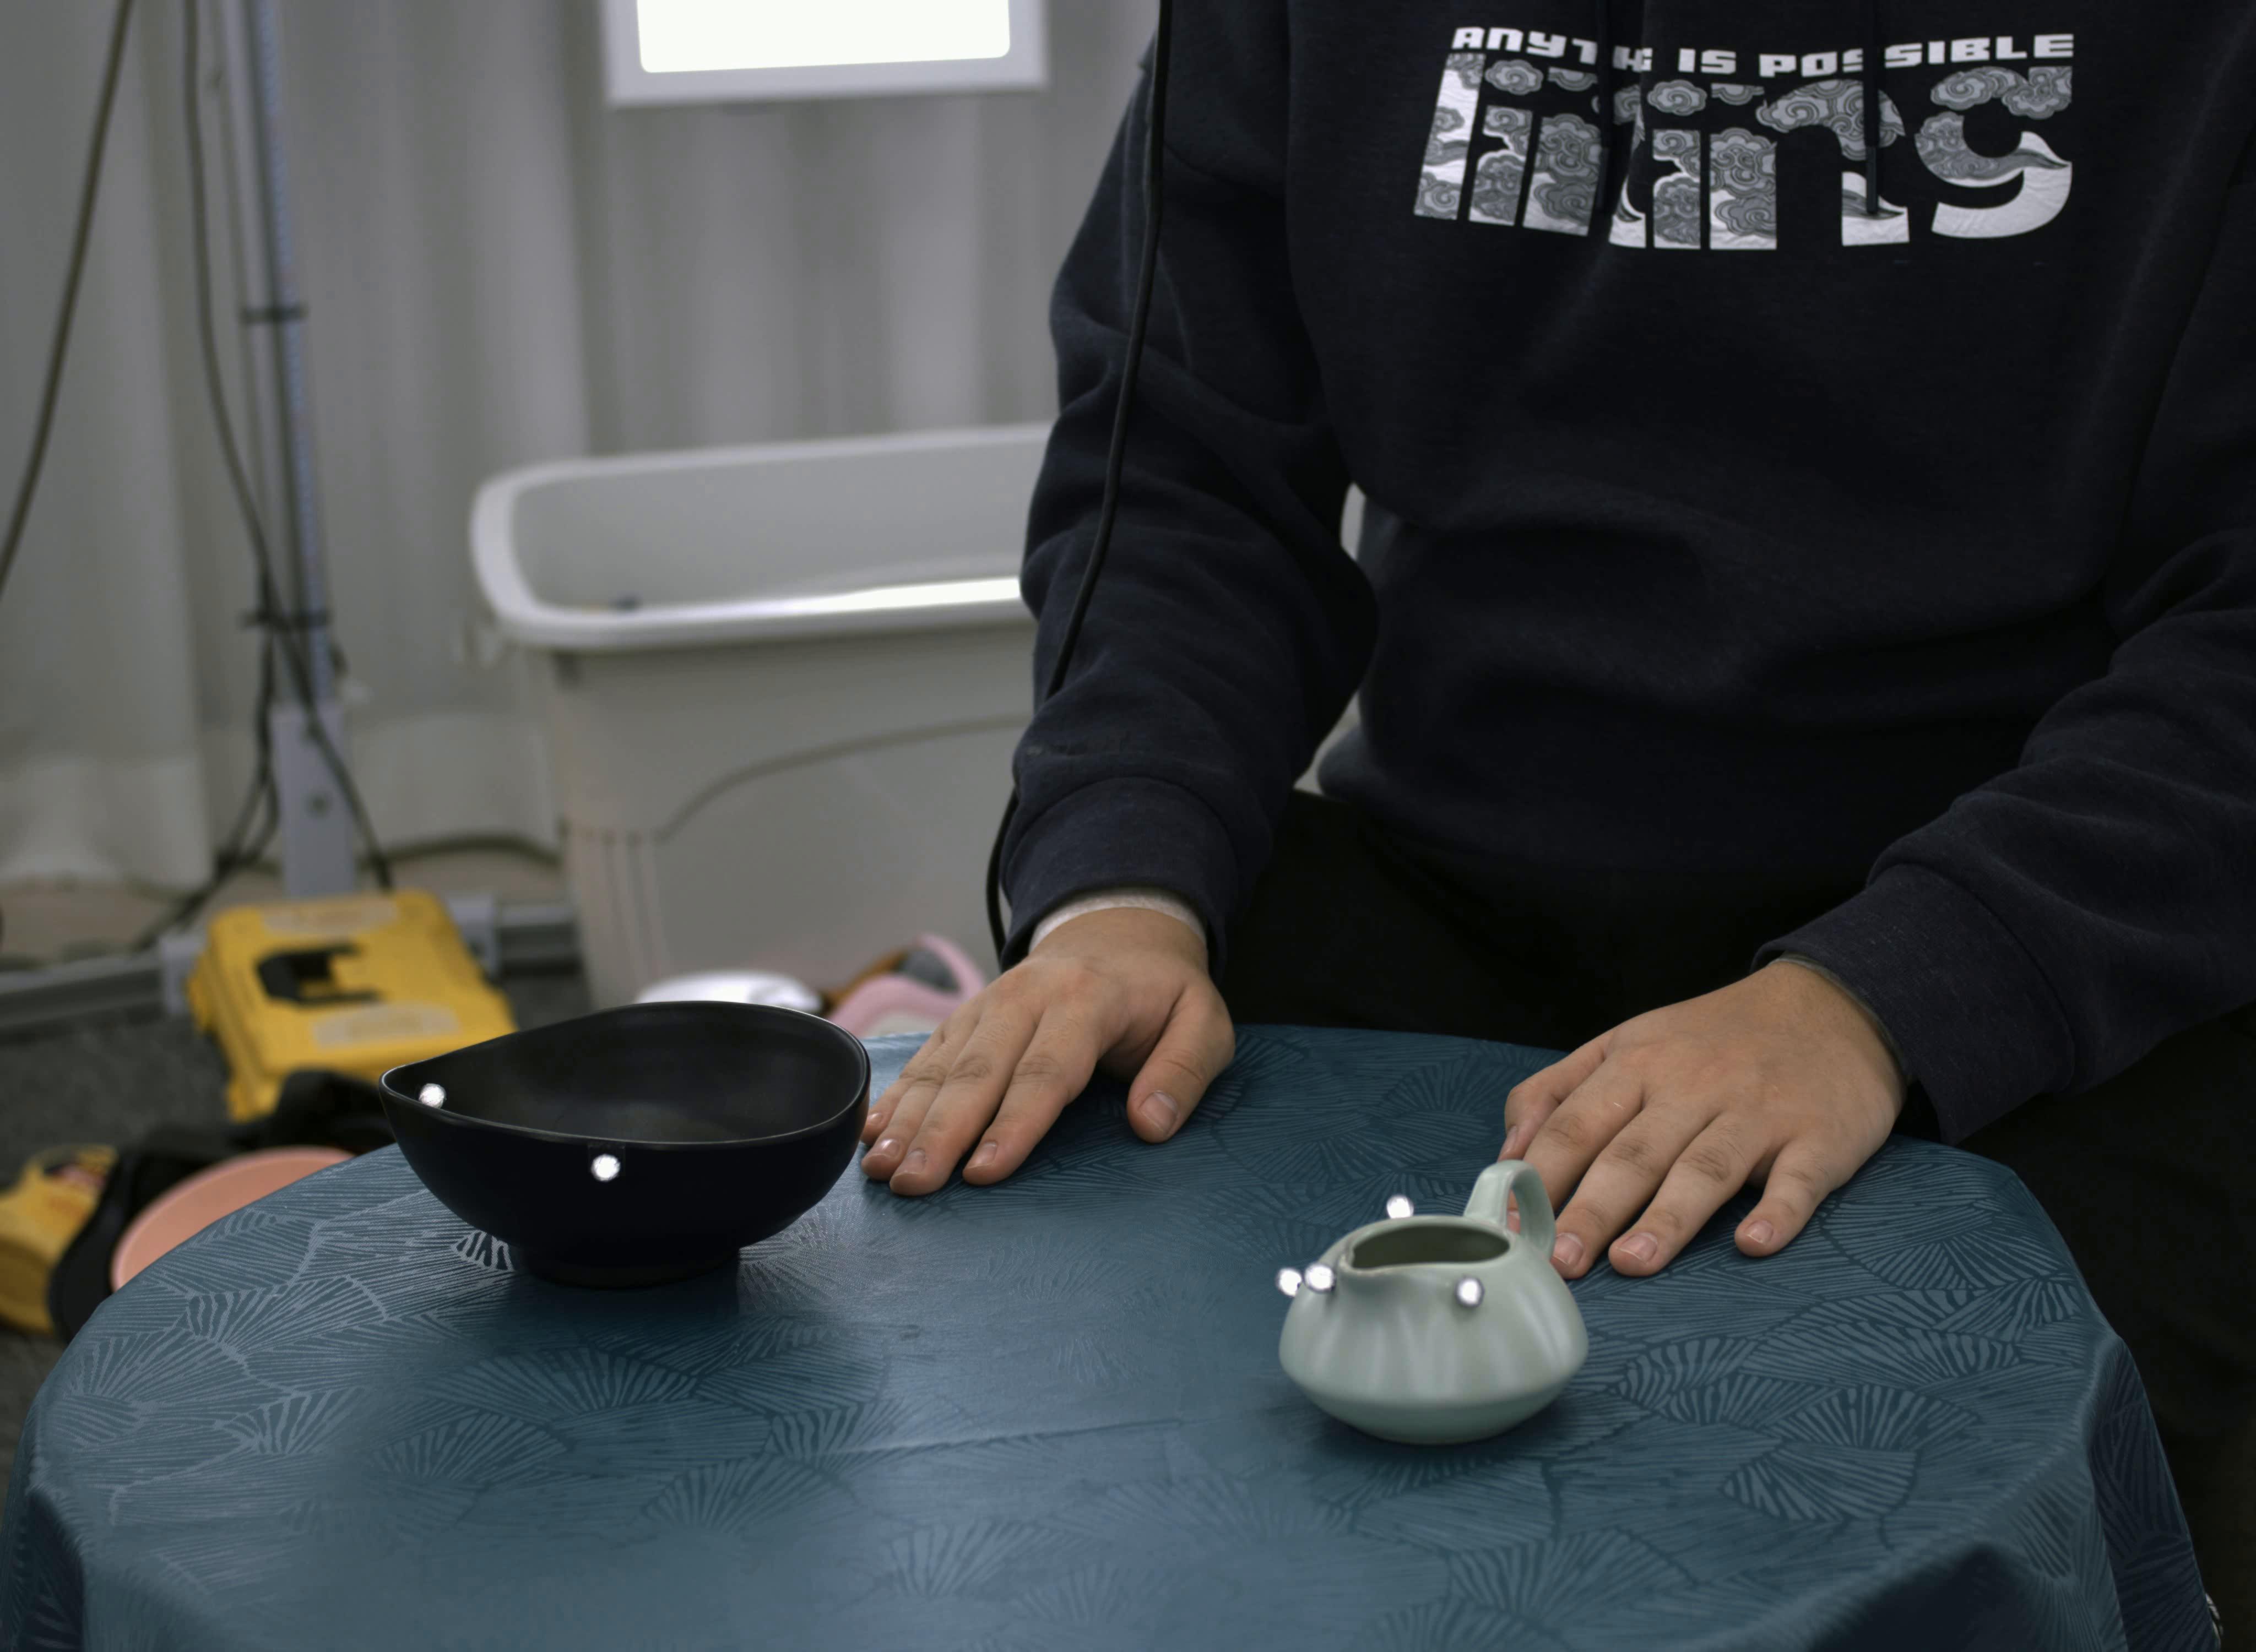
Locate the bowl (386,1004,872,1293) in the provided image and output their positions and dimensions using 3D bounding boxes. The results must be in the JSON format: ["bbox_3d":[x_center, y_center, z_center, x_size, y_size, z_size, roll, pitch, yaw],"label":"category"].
[{"bbox_3d":[-0.153,0.102,1.670,0.171,0.066,0.137,11,19,44],"label":"bowl"}]

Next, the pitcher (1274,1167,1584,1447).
[{"bbox_3d":[0.089,0.134,1.522,0.086,0.060,0.108,7,15,29],"label":"pitcher"}]
